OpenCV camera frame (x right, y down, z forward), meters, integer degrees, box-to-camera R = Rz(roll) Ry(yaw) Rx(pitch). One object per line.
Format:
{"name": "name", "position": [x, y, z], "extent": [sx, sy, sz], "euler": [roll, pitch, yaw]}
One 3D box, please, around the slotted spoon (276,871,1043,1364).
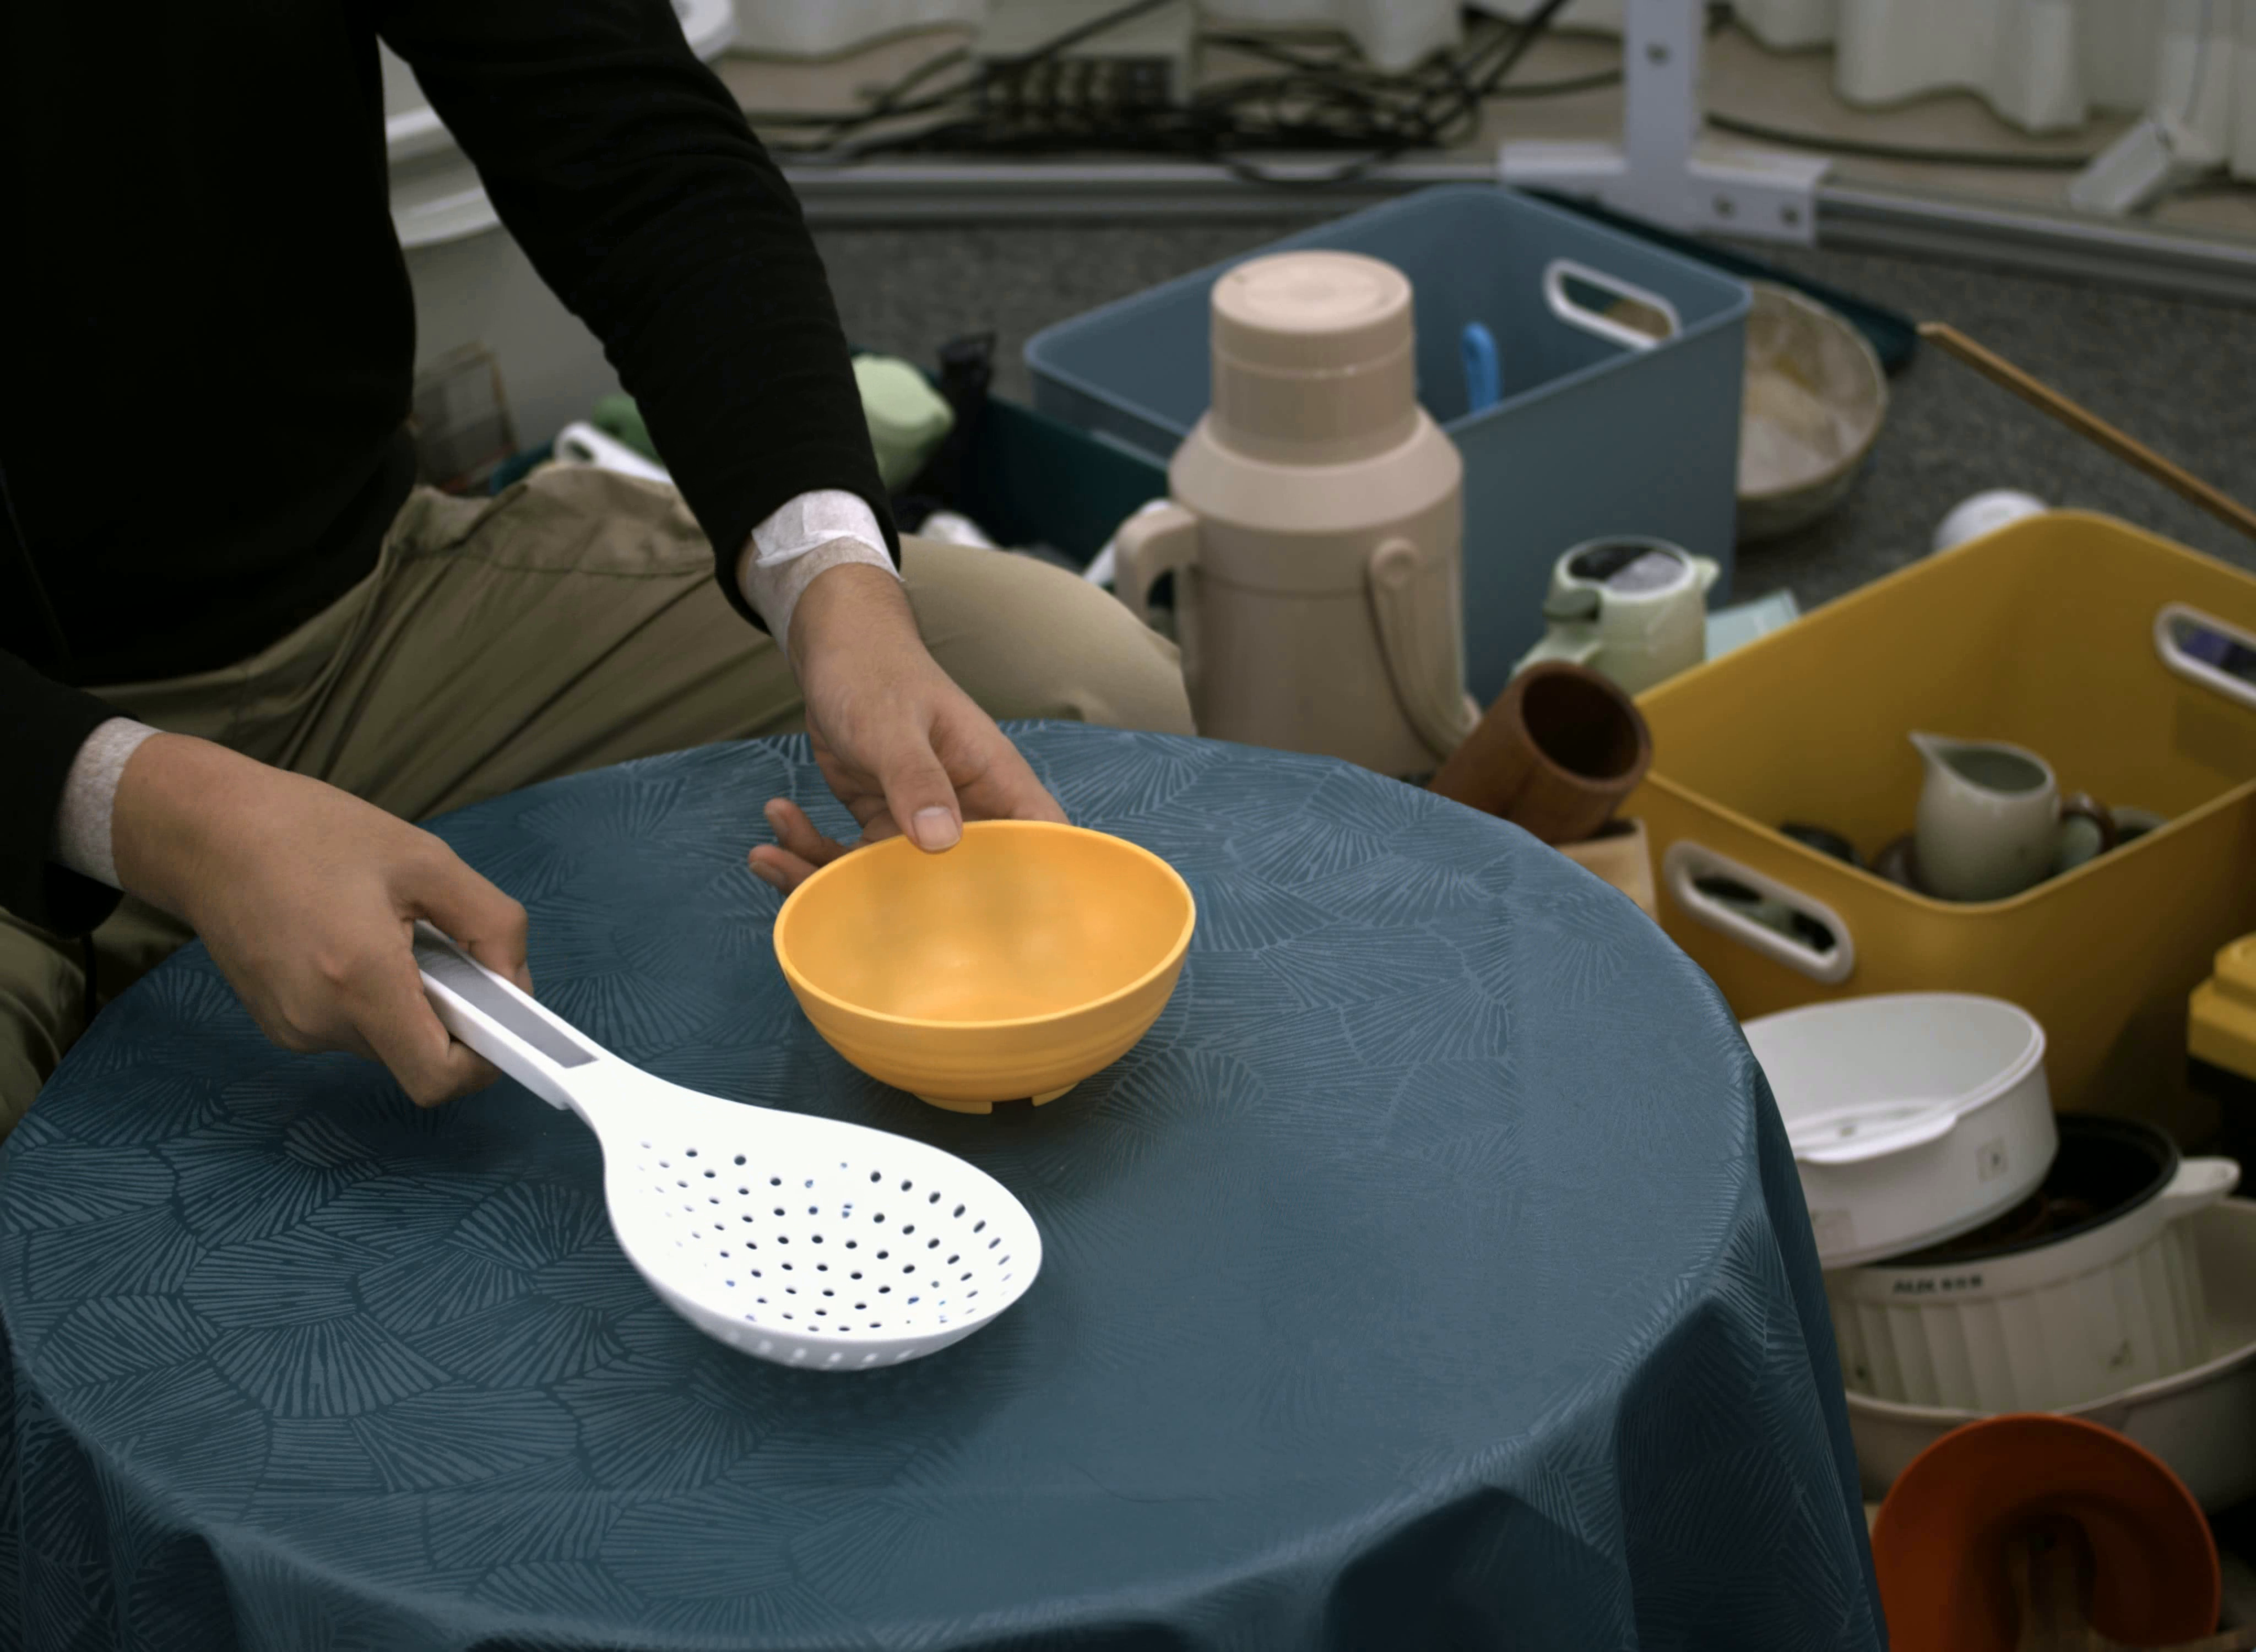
{"name": "slotted spoon", "position": [-0.169, 0.091, 1.843], "extent": [0.137, 0.045, 0.350], "euler": [-13, 36, -43]}

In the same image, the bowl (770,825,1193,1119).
{"name": "bowl", "position": [-0.049, 0.059, 1.927], "extent": [0.144, 0.059, 0.147], "euler": [-1, 27, 1]}
